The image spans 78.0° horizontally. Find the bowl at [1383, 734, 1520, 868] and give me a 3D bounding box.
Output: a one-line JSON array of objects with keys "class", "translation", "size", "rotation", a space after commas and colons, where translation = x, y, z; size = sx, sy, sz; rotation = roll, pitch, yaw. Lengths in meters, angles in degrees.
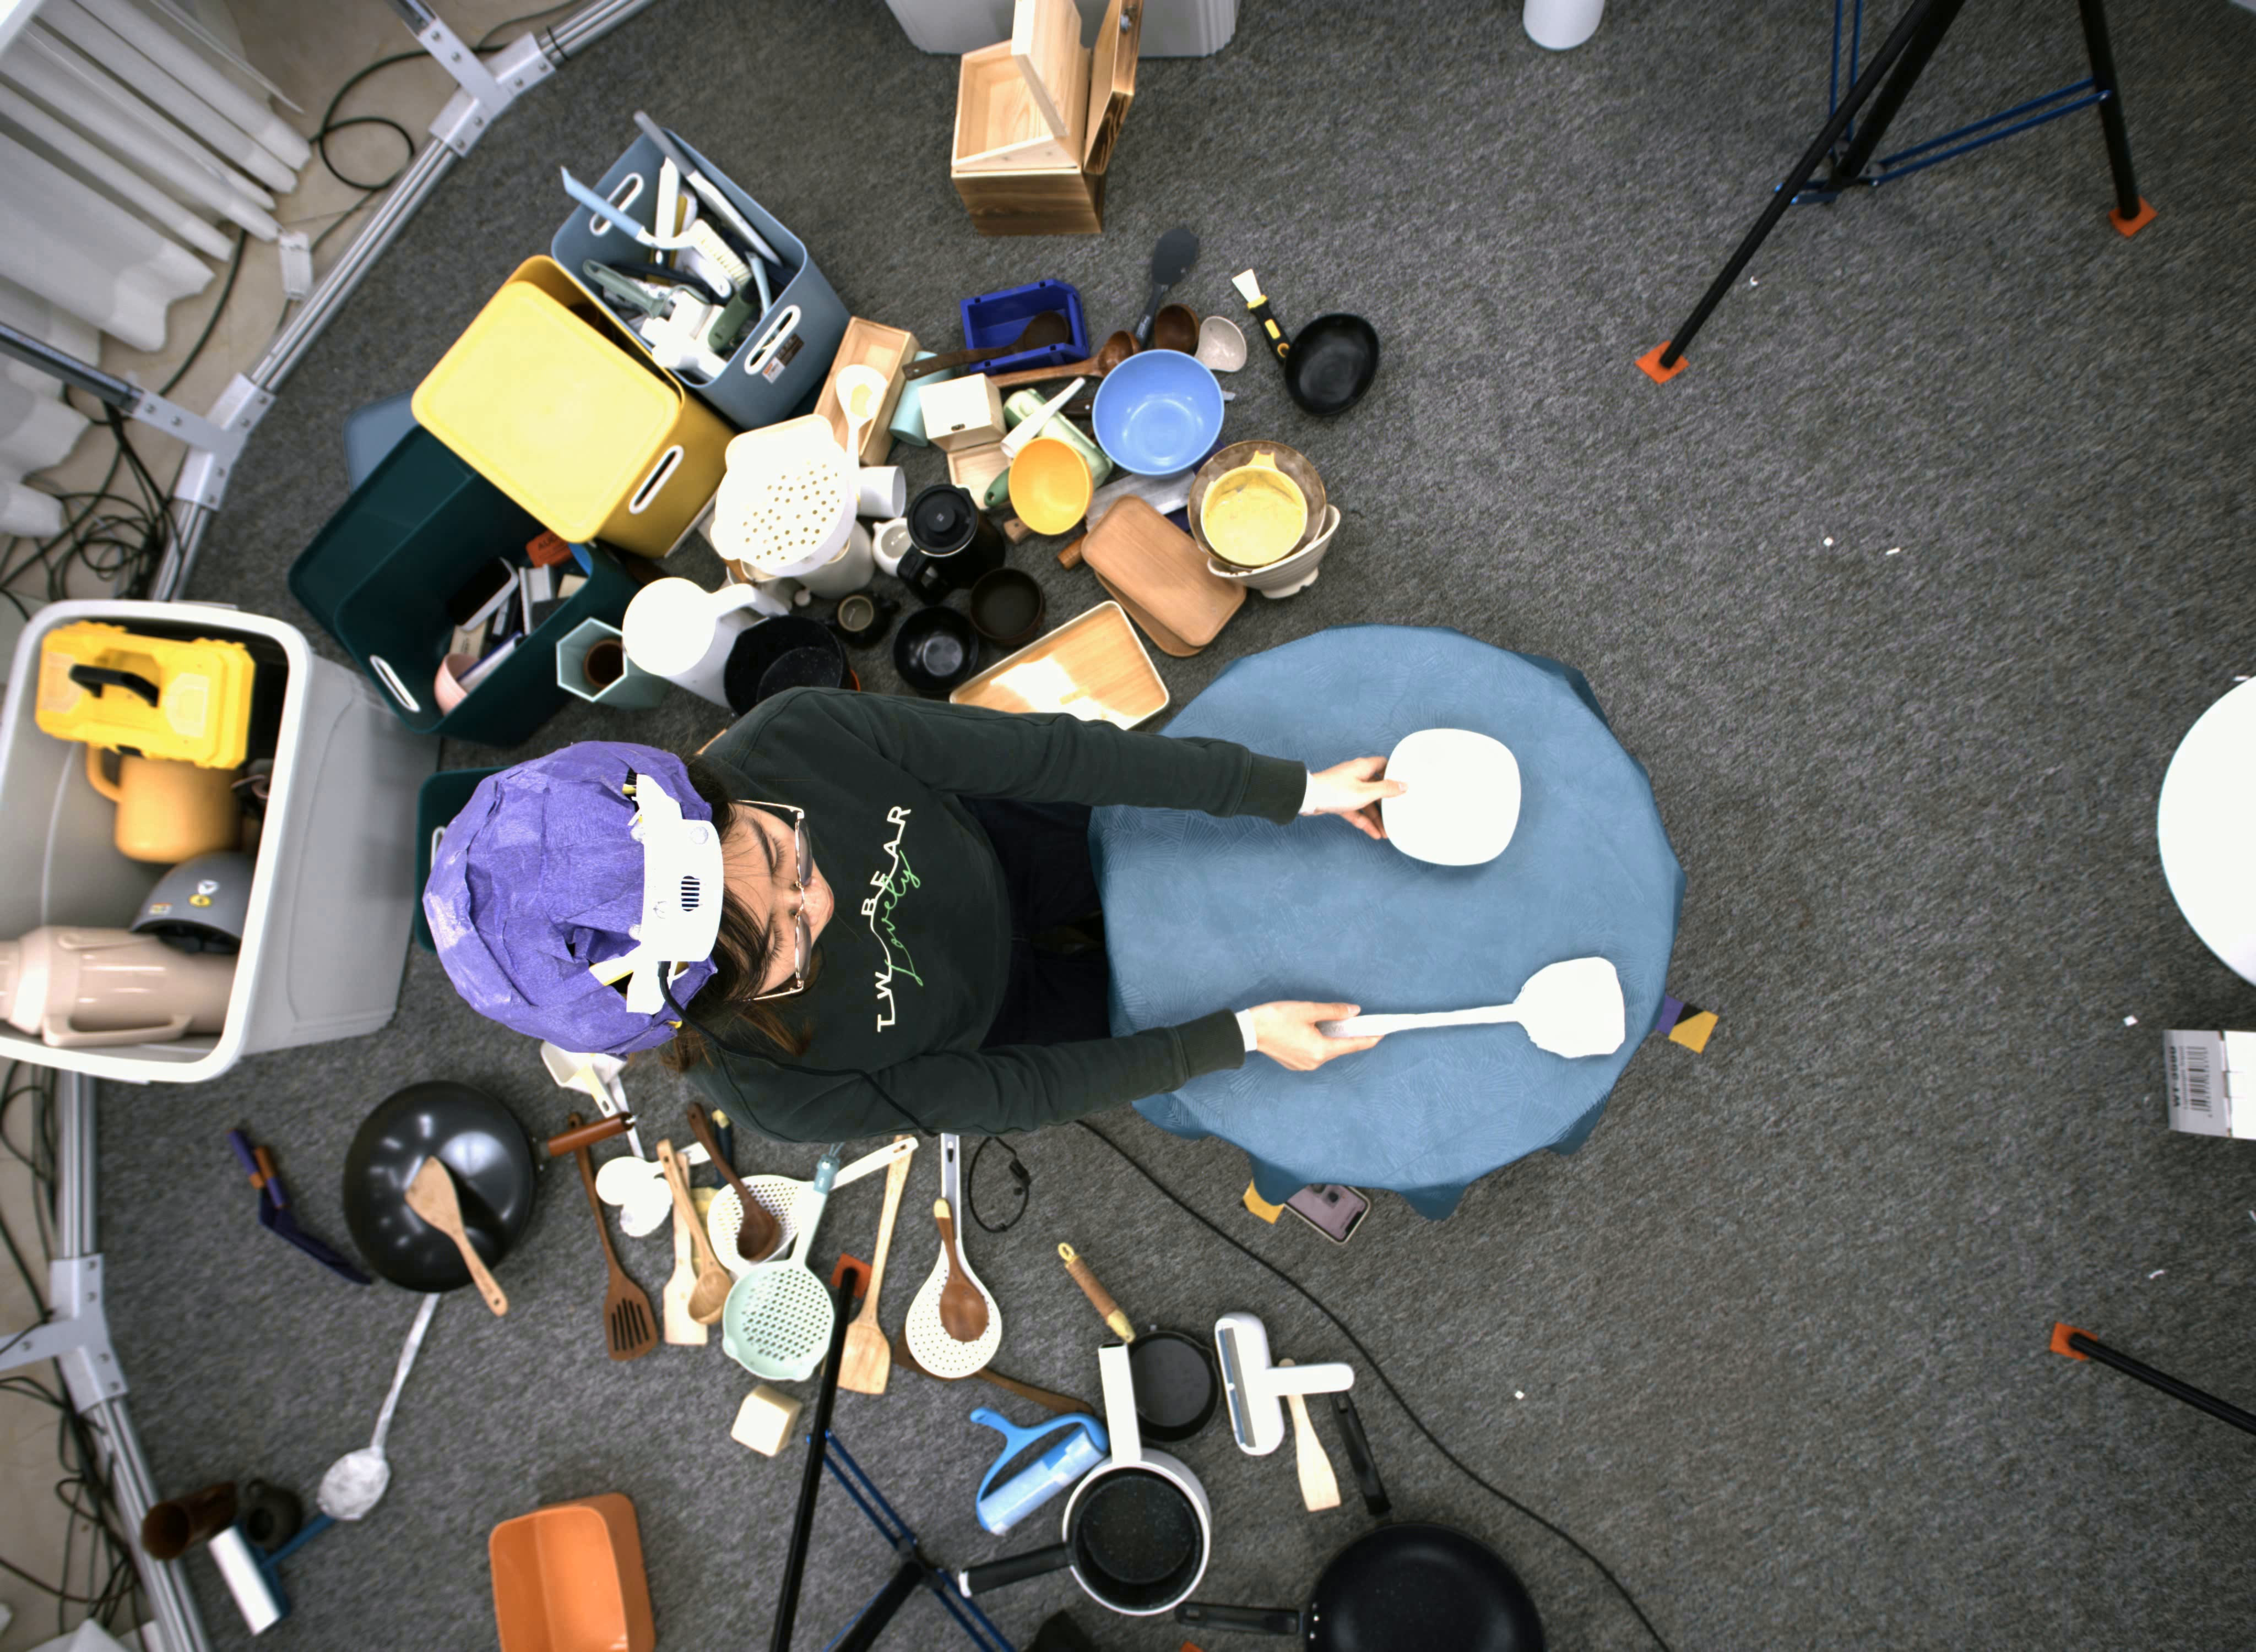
[{"class": "bowl", "translation": [0.333, -0.024, 1.430], "size": [0.152, 0.059, 0.150], "rotation": [-1, 83, 6]}]

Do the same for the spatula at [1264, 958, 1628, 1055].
[{"class": "spatula", "translation": [0.323, 0.194, 1.418], "size": [0.366, 0.045, 0.098], "rotation": [-5, 86, 5]}]
